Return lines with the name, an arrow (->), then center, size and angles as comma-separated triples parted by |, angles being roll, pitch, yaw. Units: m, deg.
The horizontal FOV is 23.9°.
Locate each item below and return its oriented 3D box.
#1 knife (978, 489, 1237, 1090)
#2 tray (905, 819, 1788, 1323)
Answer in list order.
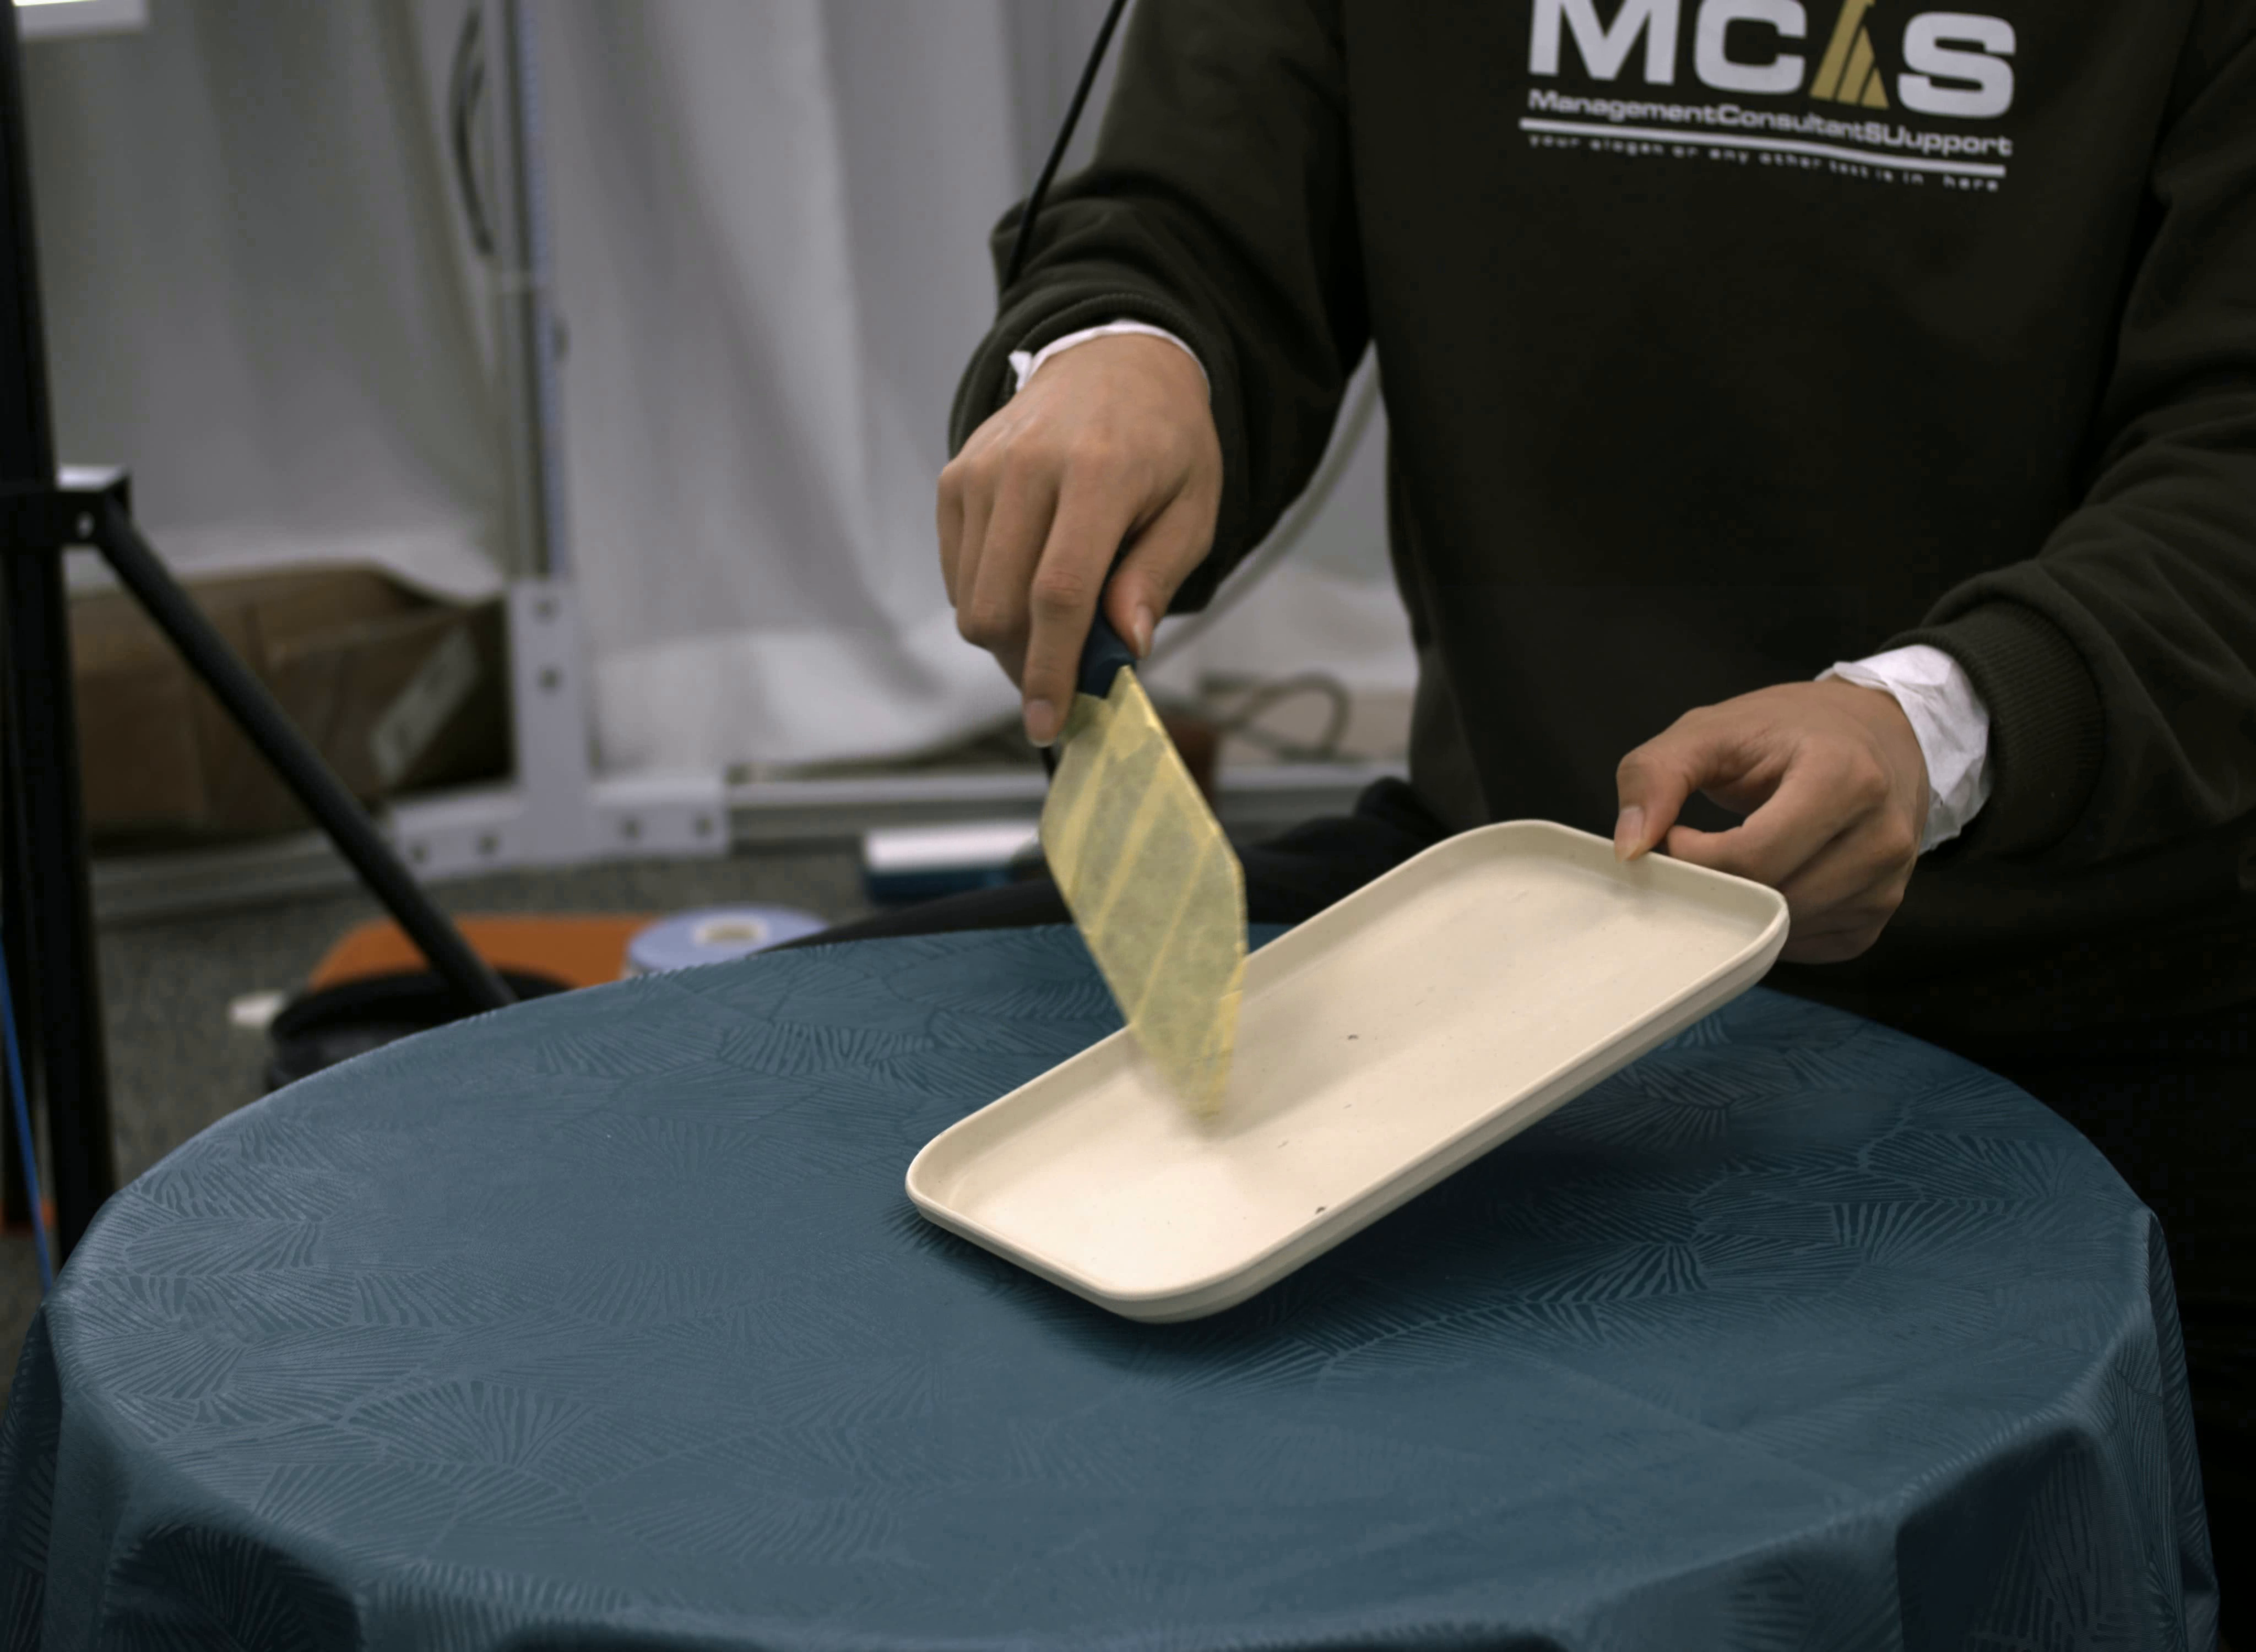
knife -> -0.010, -0.015, 1.635 | 0.026, 0.081, 0.294 | 13, 30, -24
tray -> 0.064, 0.069, 1.529 | 0.236, 0.017, 0.175 | -30, 22, -21
